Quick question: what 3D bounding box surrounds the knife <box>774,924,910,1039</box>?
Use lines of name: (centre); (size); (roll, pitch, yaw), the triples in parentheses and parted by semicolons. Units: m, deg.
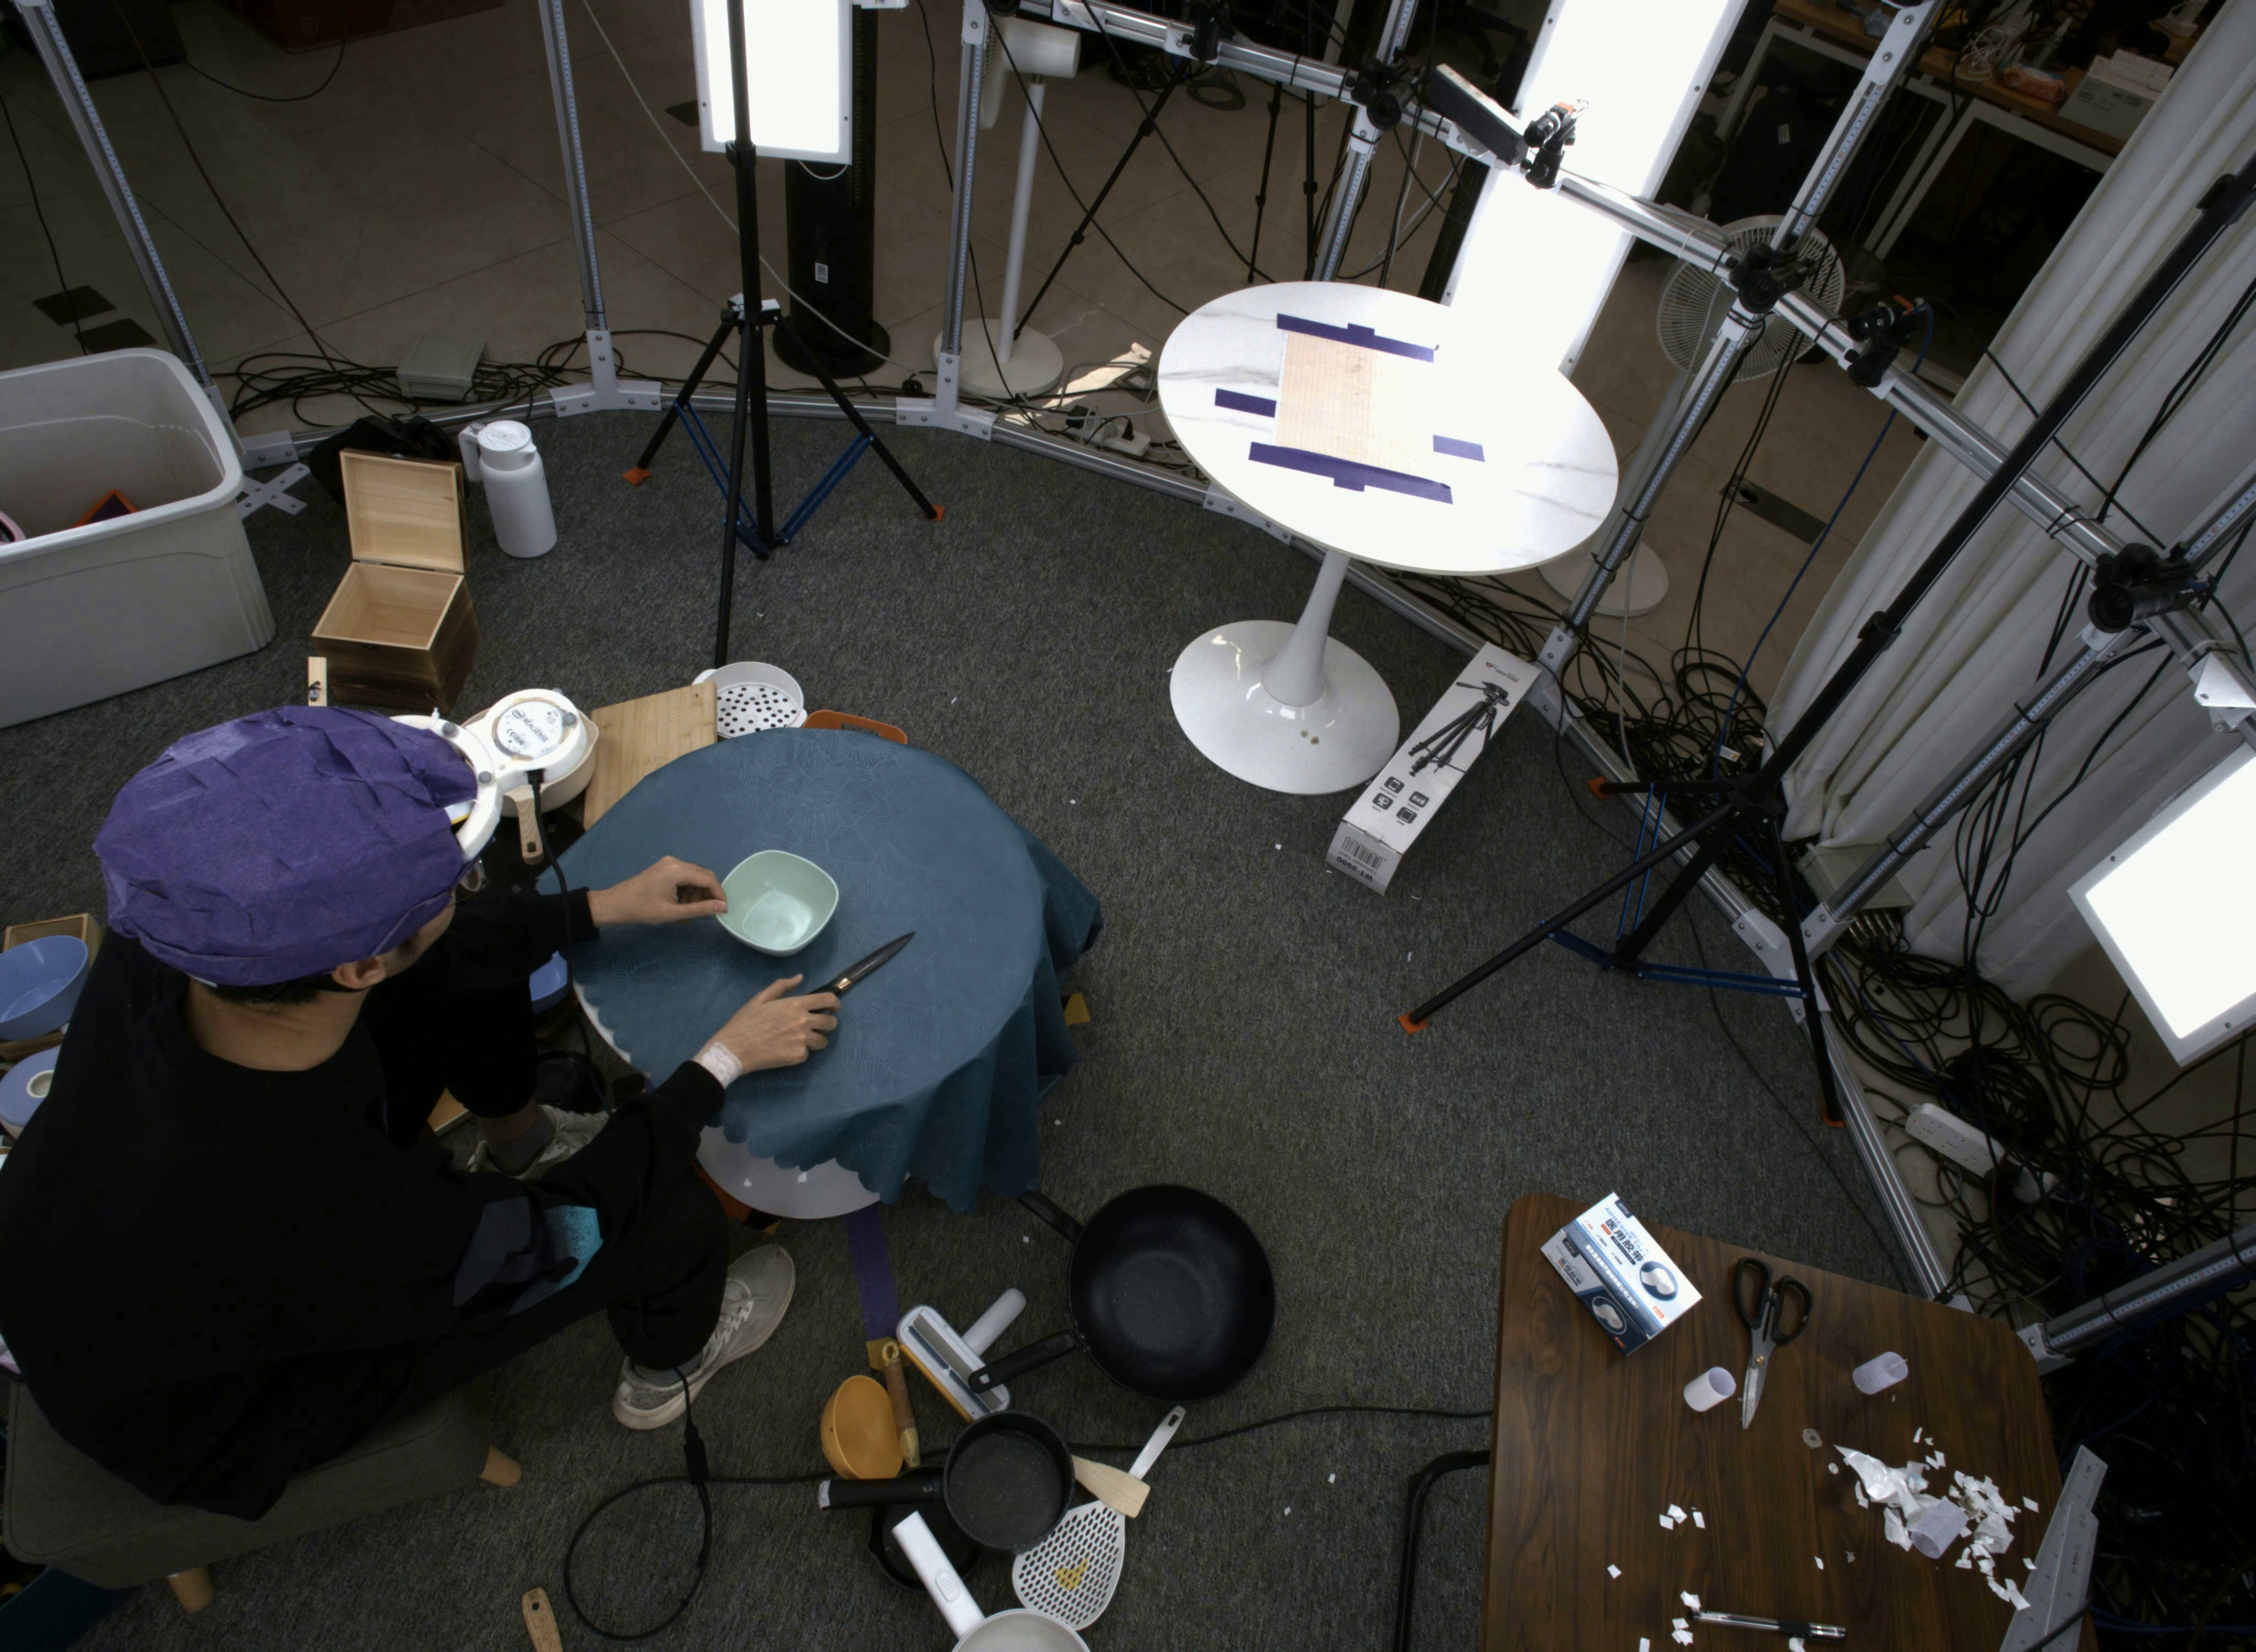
knife: (-0.345, 0.184, 1.589); (0.025, 0.018, 0.226); (34, 51, 21)

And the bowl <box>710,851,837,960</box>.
bowl: (-0.435, 0.106, 1.595); (0.151, 0.060, 0.149); (9, 52, -10)
